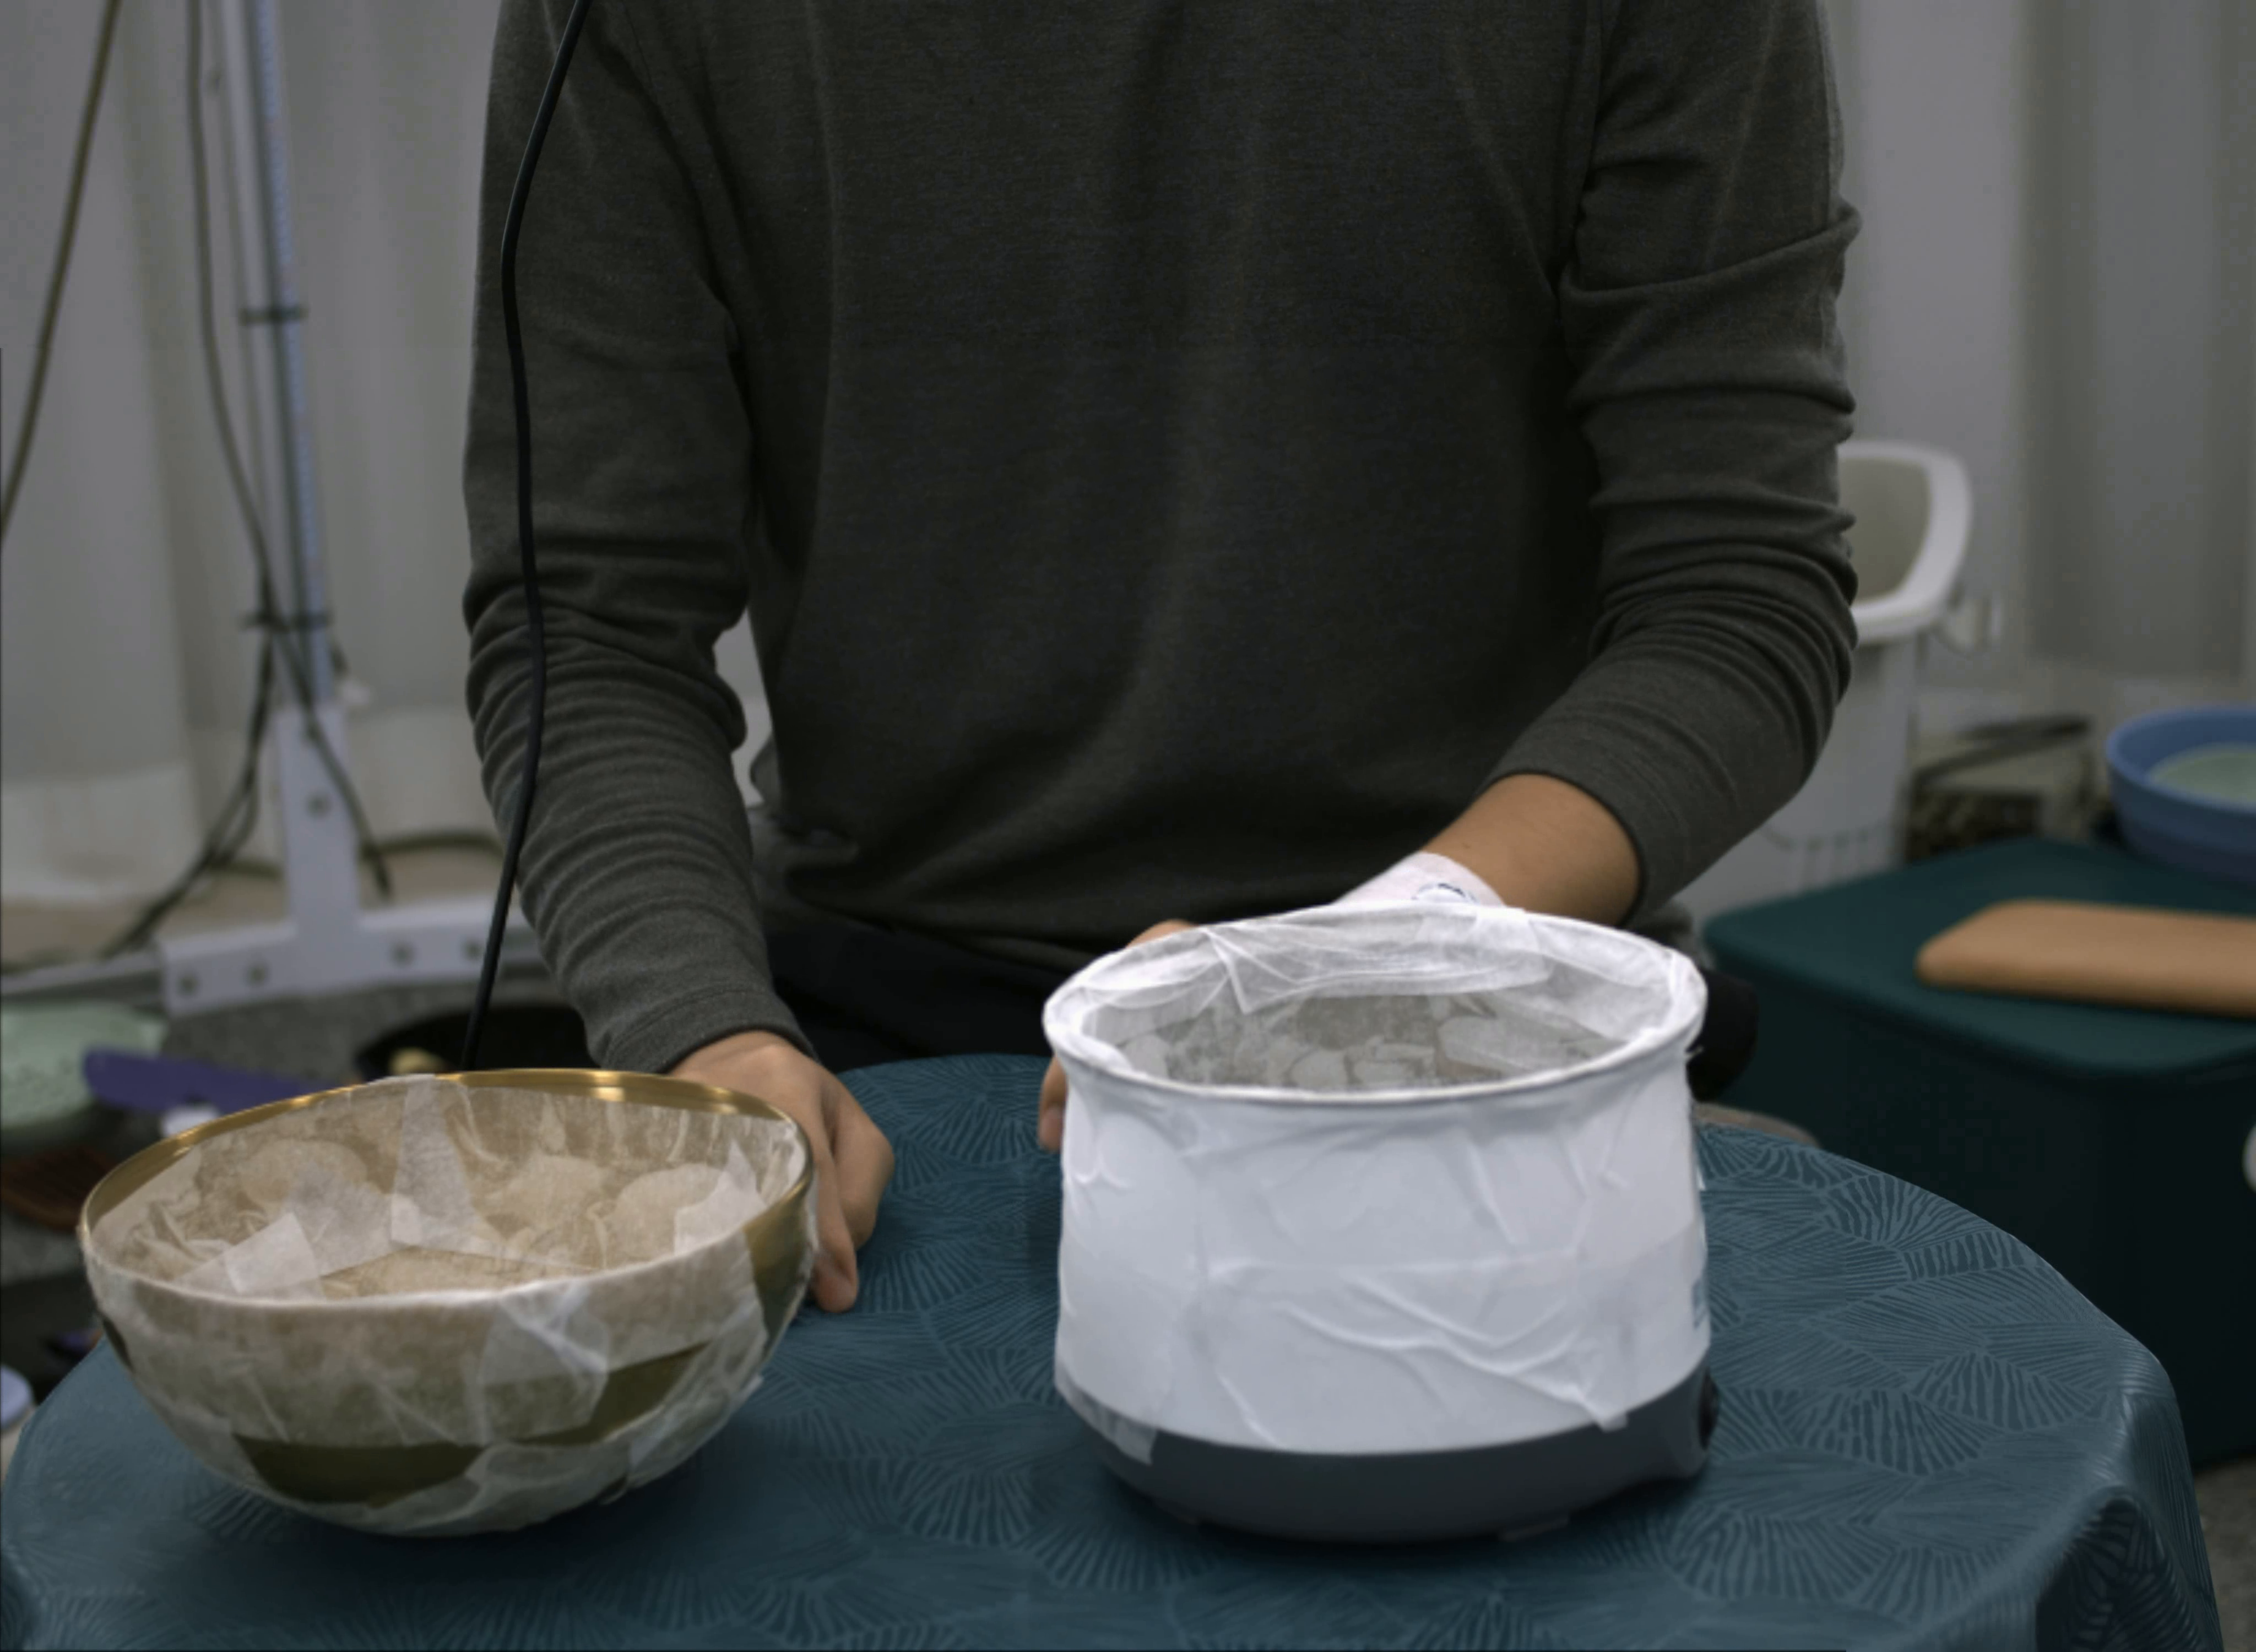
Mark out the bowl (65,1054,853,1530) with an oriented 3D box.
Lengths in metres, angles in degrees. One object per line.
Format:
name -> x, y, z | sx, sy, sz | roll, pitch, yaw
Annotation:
bowl -> -0.178, 0.135, 1.489 | 0.214, 0.094, 0.216 | -4, 13, 1

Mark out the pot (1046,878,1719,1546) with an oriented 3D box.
pot -> 0.075, 0.099, 1.496 | 0.178, 0.136, 0.235 | 1, 15, 13
